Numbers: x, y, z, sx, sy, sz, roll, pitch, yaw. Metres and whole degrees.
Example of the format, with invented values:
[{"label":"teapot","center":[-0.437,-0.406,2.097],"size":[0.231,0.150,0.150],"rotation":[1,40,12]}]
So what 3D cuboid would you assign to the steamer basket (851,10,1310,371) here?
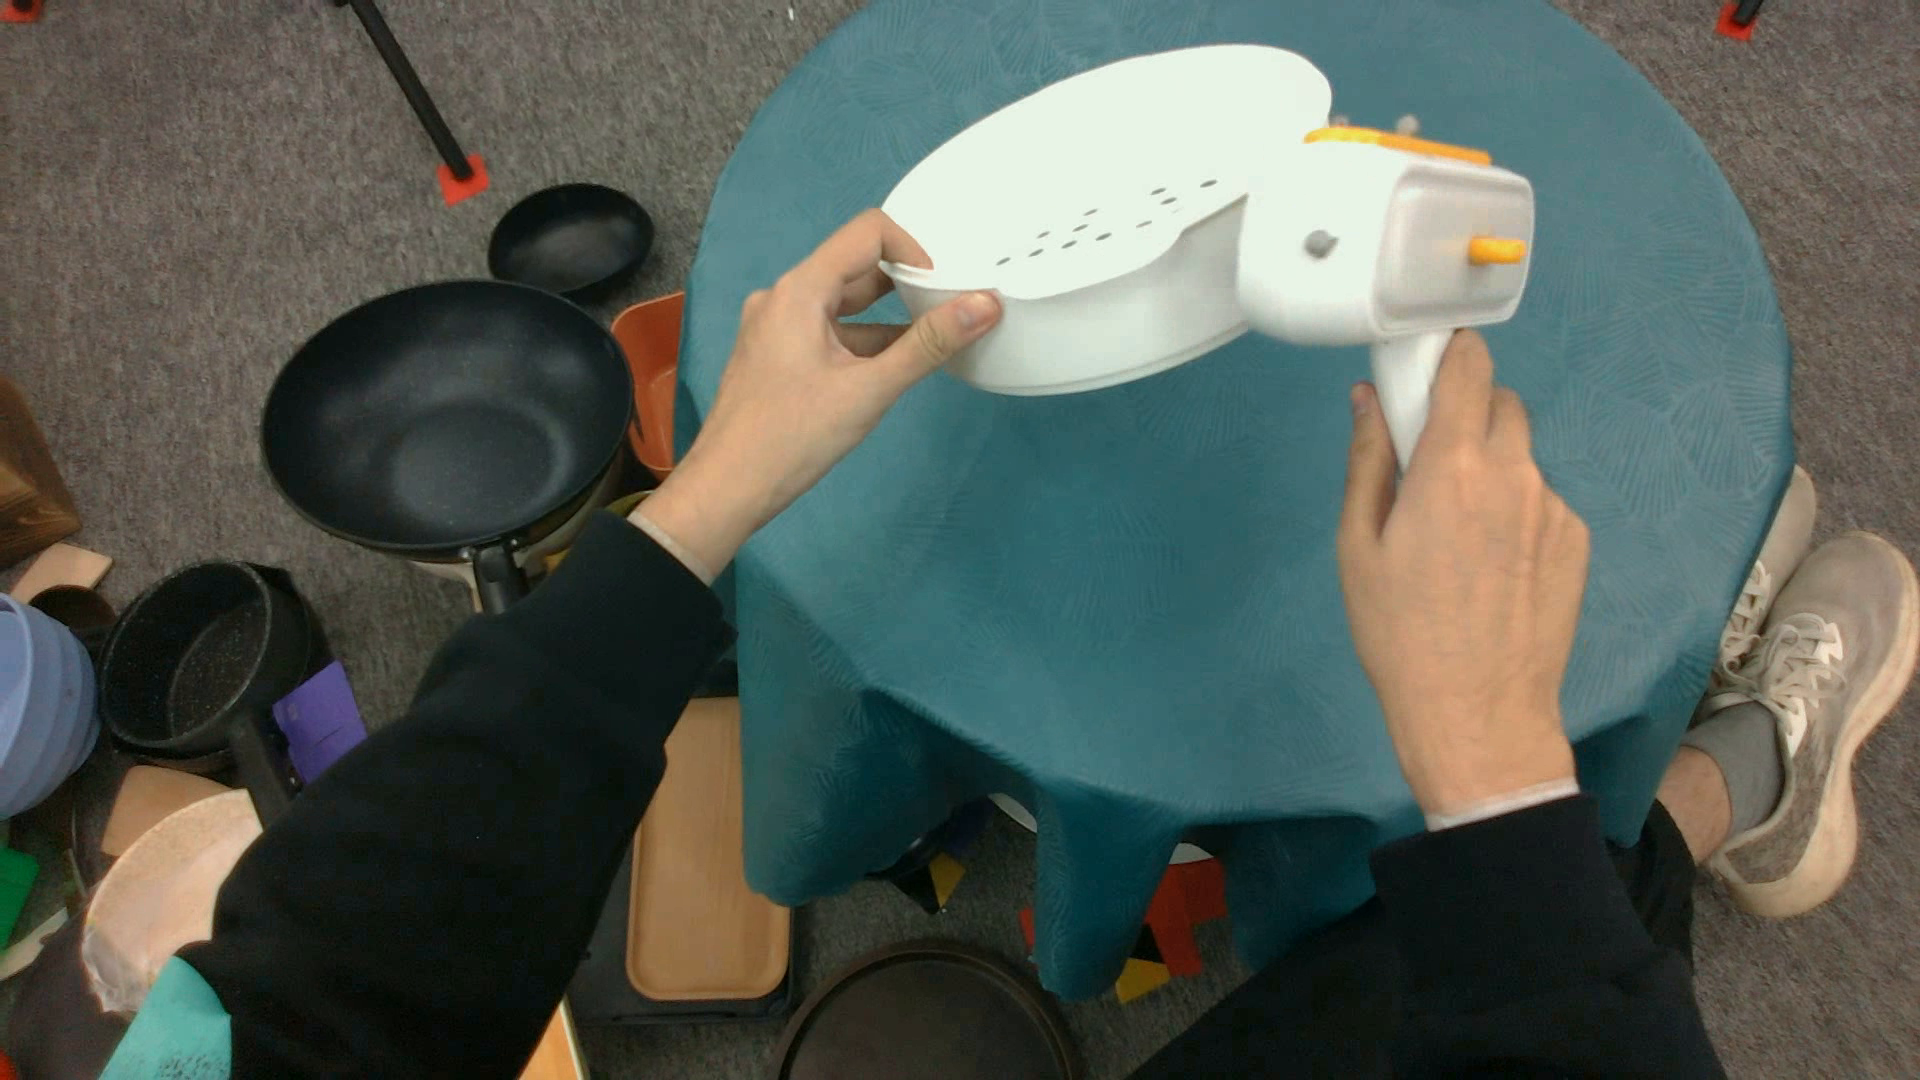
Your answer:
[{"label":"steamer basket","center":[0.055,-0.154,0.607],"size":[0.201,0.069,0.231],"rotation":[-16,35,17]}]

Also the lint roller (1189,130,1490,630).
[{"label":"lint roller","center":[0.161,-0.059,0.524],"size":[0.074,0.193,0.192],"rotation":[-1,102,35]}]
